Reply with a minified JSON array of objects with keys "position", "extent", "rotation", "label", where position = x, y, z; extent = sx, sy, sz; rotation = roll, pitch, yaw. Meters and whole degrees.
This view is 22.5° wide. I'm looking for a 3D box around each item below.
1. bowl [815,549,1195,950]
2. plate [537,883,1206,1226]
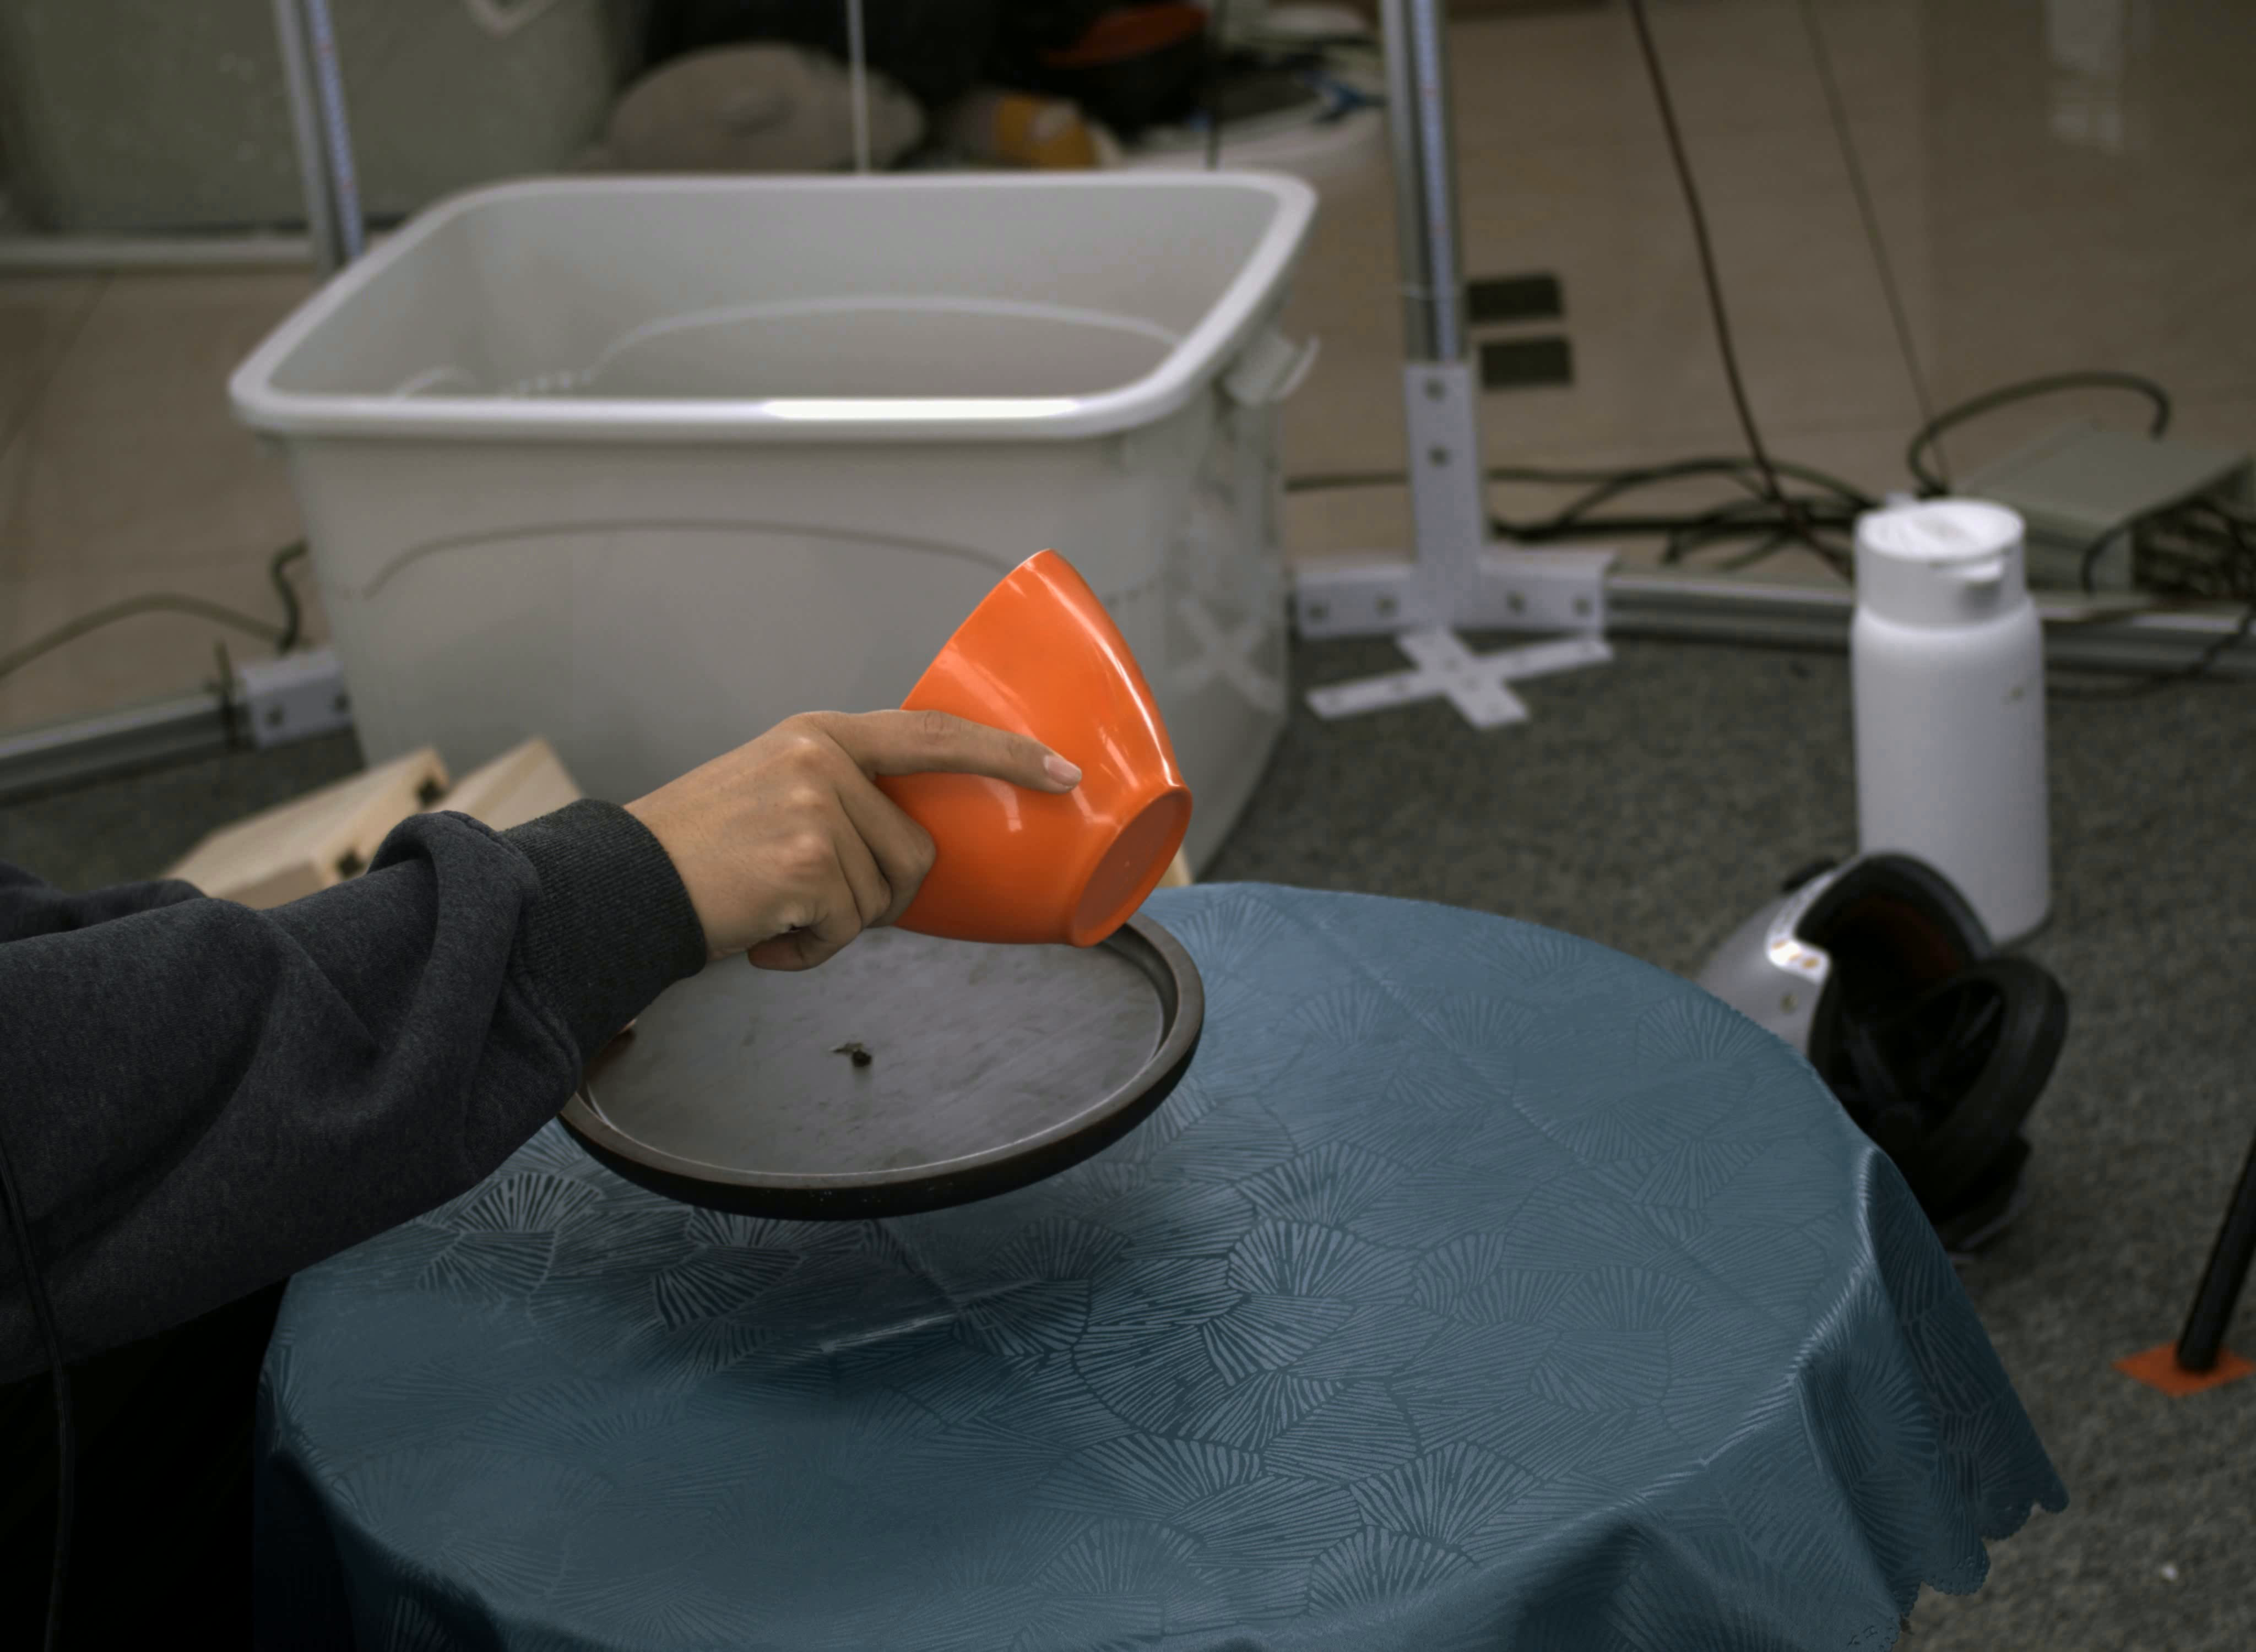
[{"position":[-0.033,-0.013,1.958],"extent":[0.104,0.150,0.146],"rotation":[38,42,18],"label":"bowl"},{"position":[-0.096,0.083,2.139],"extent":[0.254,0.029,0.251],"rotation":[-4,28,2],"label":"plate"}]
